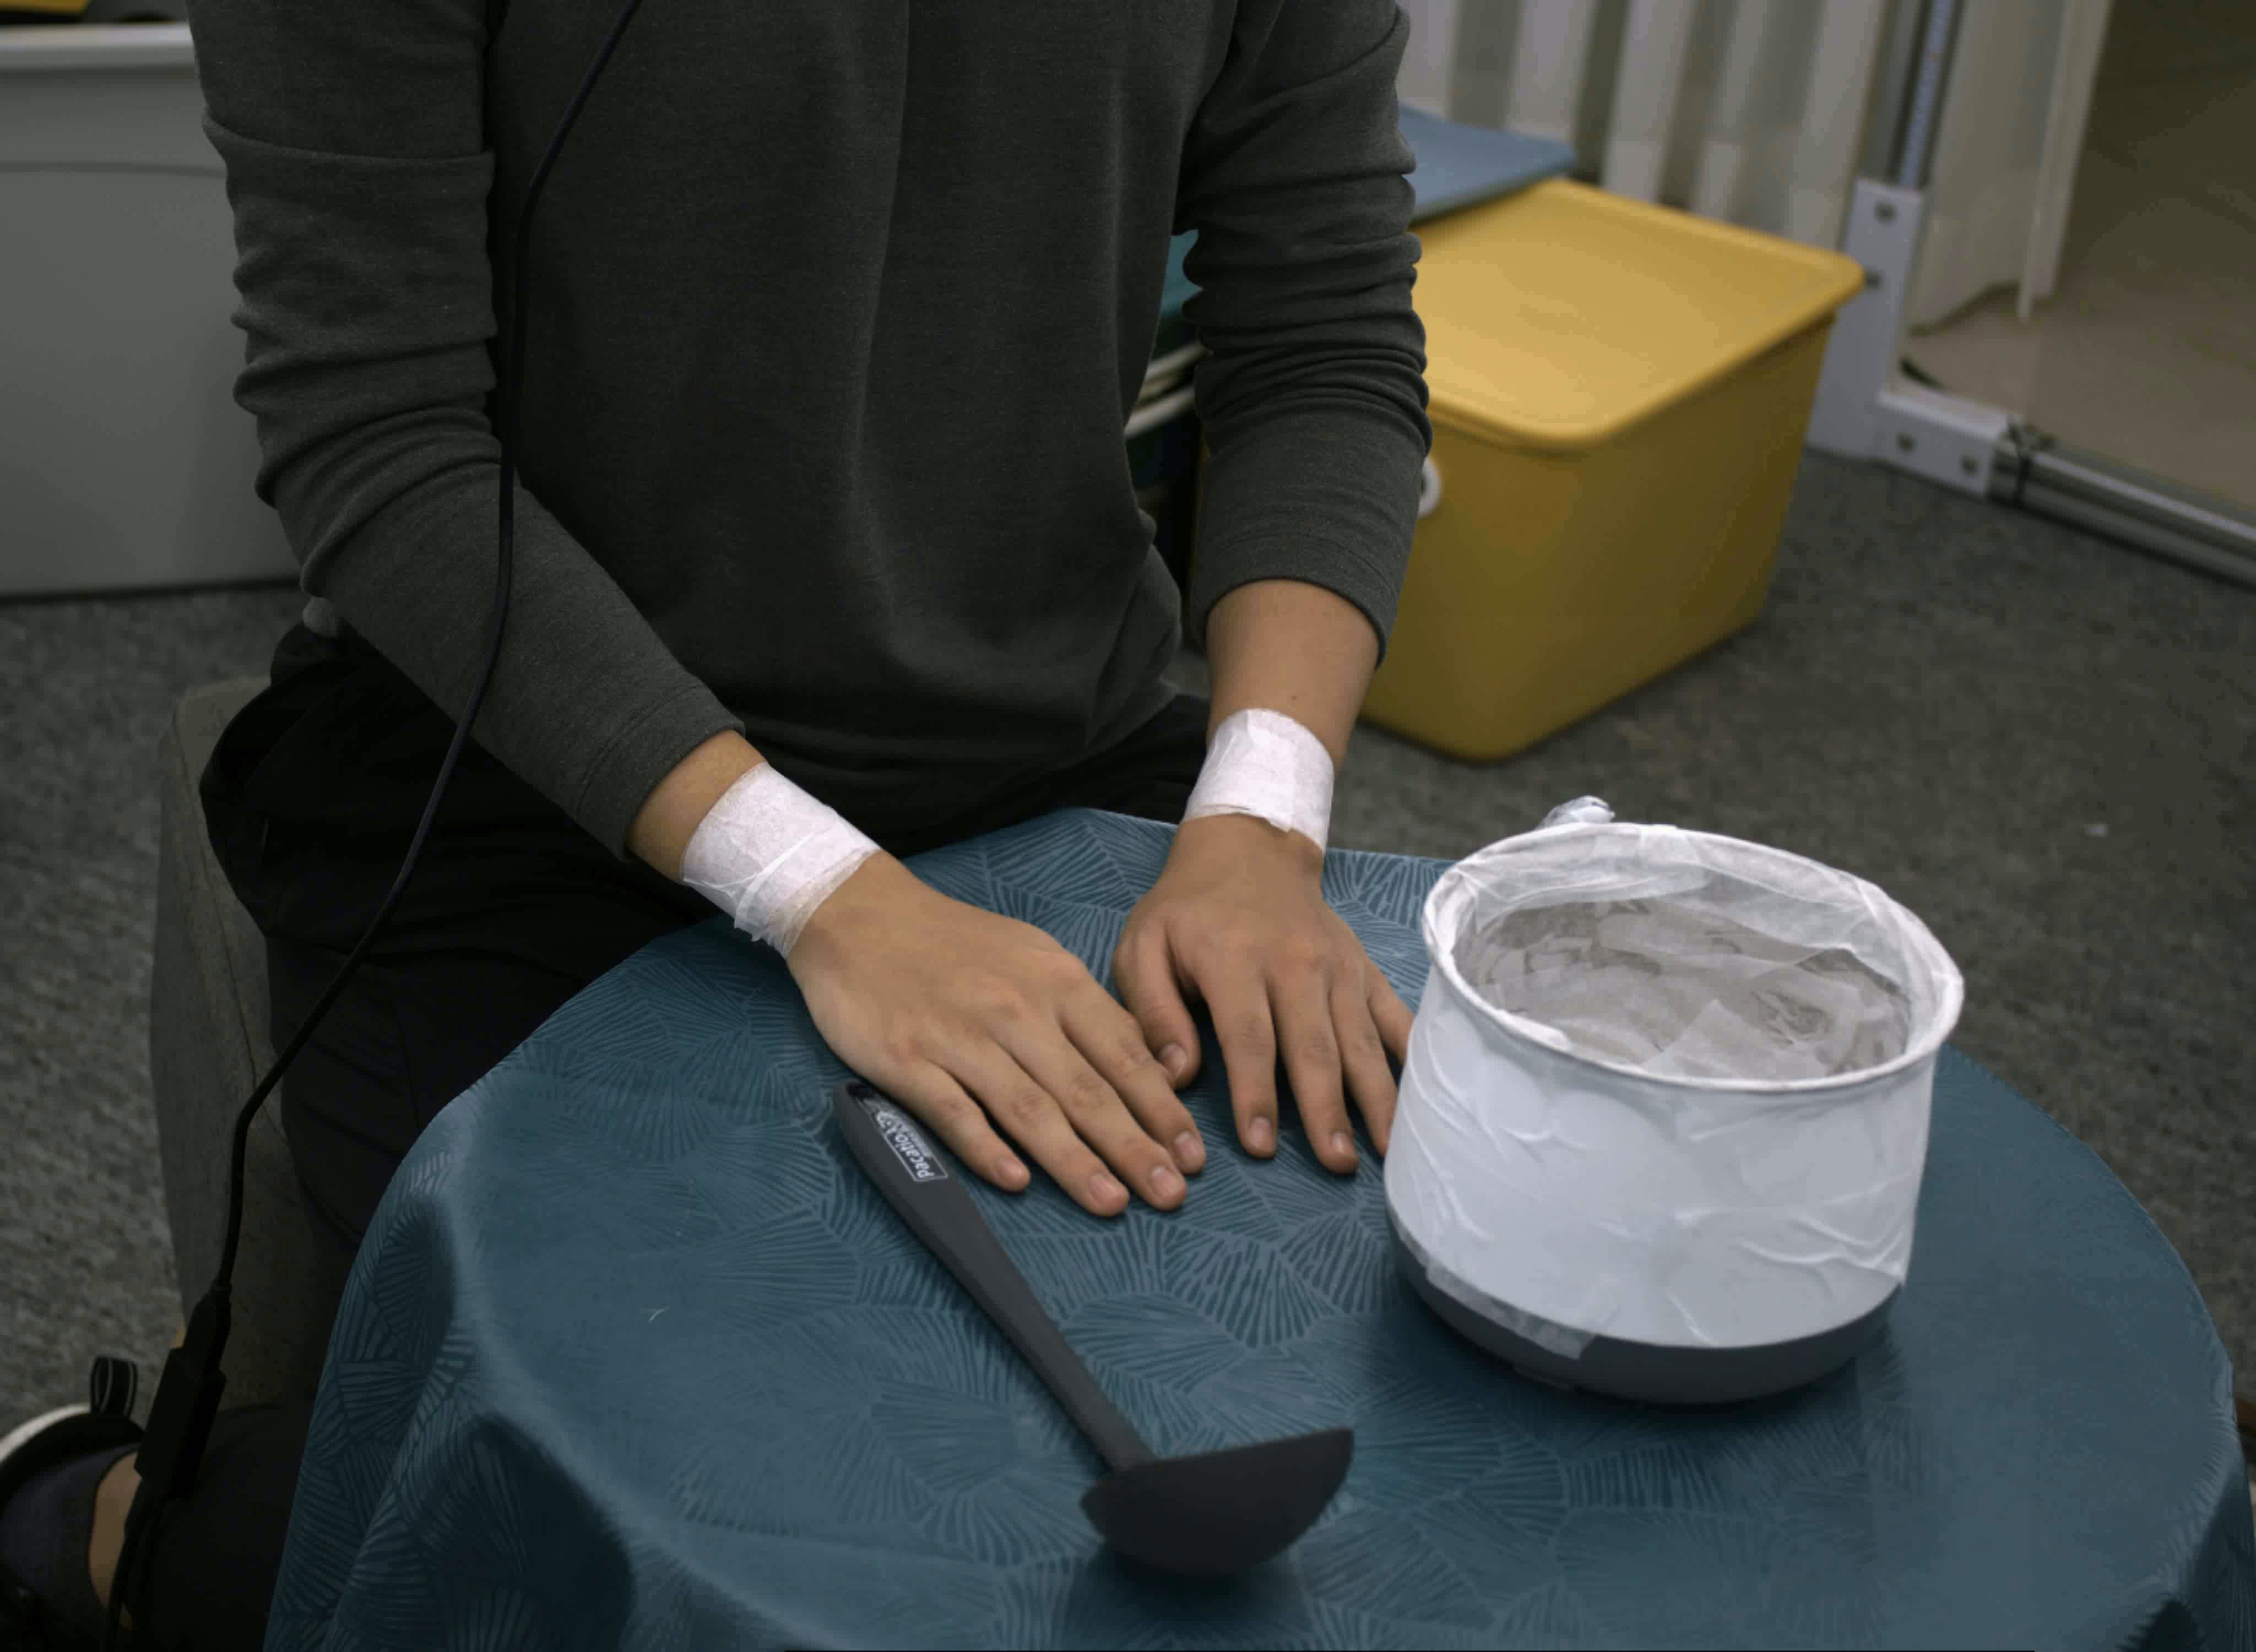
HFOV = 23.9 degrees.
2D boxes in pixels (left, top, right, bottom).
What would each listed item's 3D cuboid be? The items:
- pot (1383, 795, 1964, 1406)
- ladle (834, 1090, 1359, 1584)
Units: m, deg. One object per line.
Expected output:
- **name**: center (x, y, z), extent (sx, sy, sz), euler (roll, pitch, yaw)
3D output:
- **pot**: center (0.168, 0.084, 1.772), extent (0.177, 0.136, 0.236), euler (-2, 28, -17)
- **ladle**: center (-0.027, 0.144, 1.691), extent (0.085, 0.064, 0.317), euler (-2, 27, -27)
